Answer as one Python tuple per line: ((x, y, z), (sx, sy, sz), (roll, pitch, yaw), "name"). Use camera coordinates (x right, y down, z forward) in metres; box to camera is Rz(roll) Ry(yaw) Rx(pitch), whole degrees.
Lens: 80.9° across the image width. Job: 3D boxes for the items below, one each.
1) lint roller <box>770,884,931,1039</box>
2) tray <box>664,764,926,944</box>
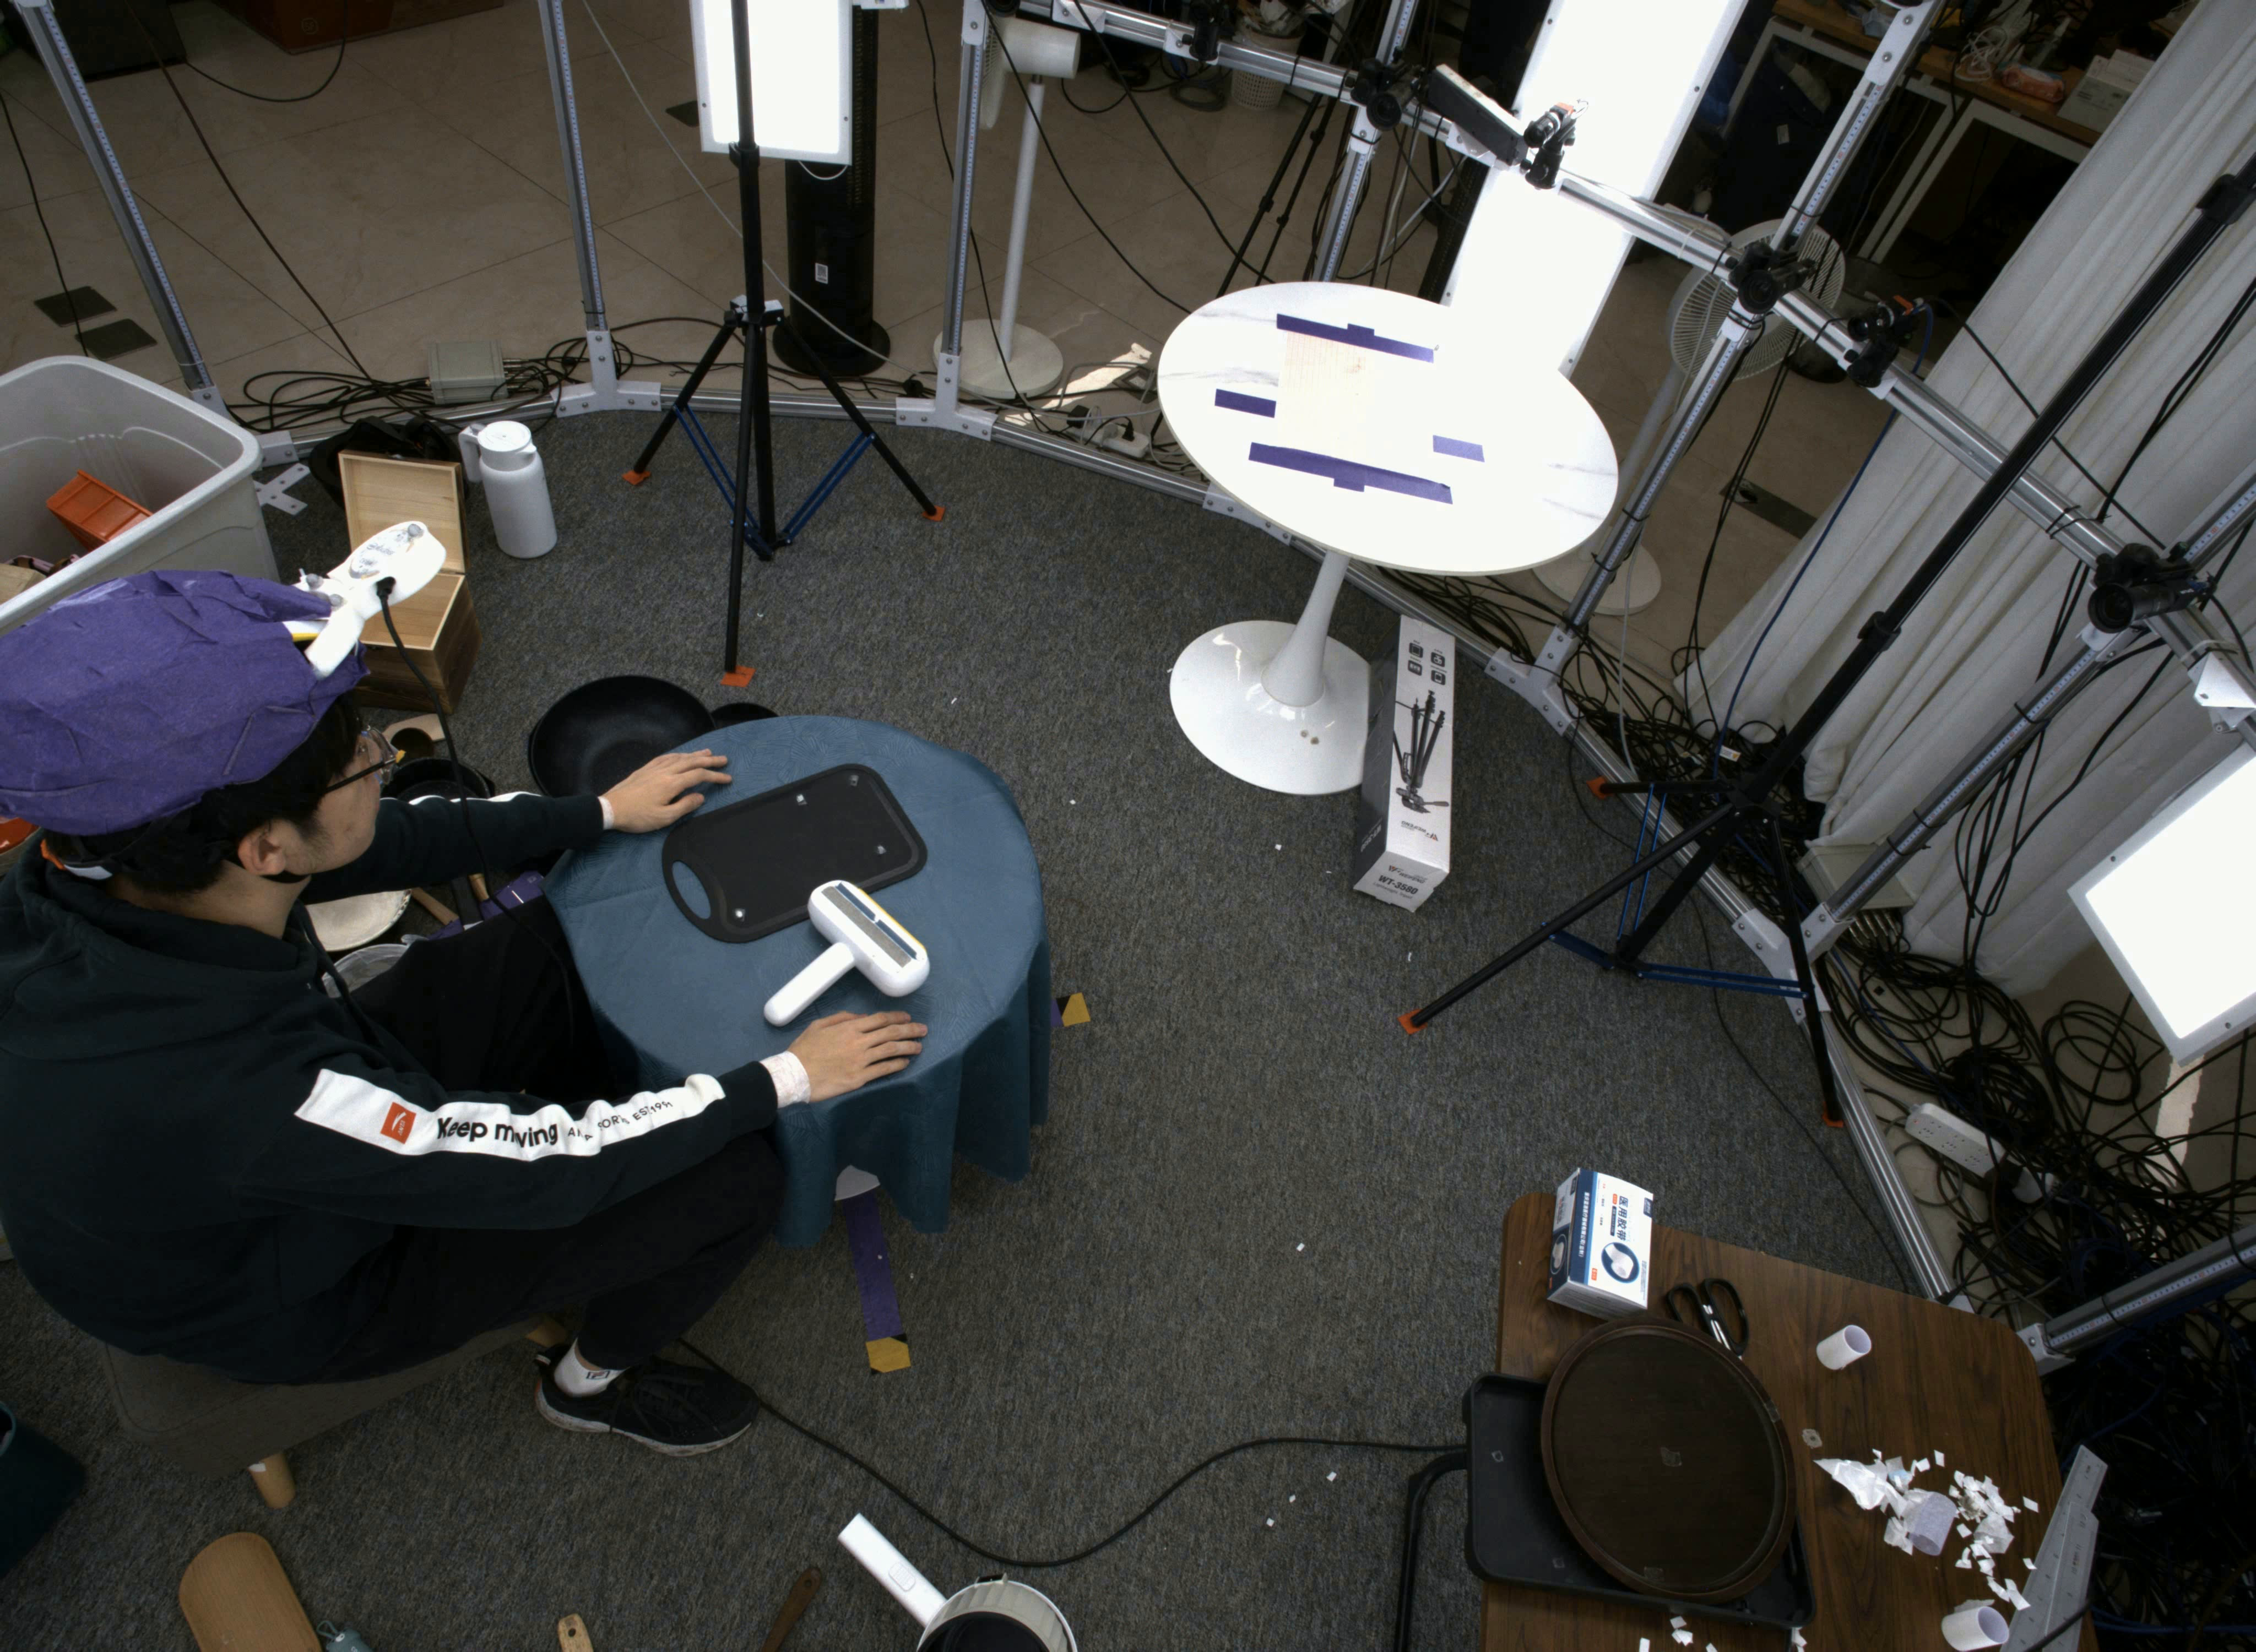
((-0.360, 0.181, 1.593), (0.192, 0.076, 0.187), (-37, 61, -18), "lint roller")
((-0.440, 0.032, 1.698), (0.327, 0.010, 0.206), (-23, 63, -28), "tray")
